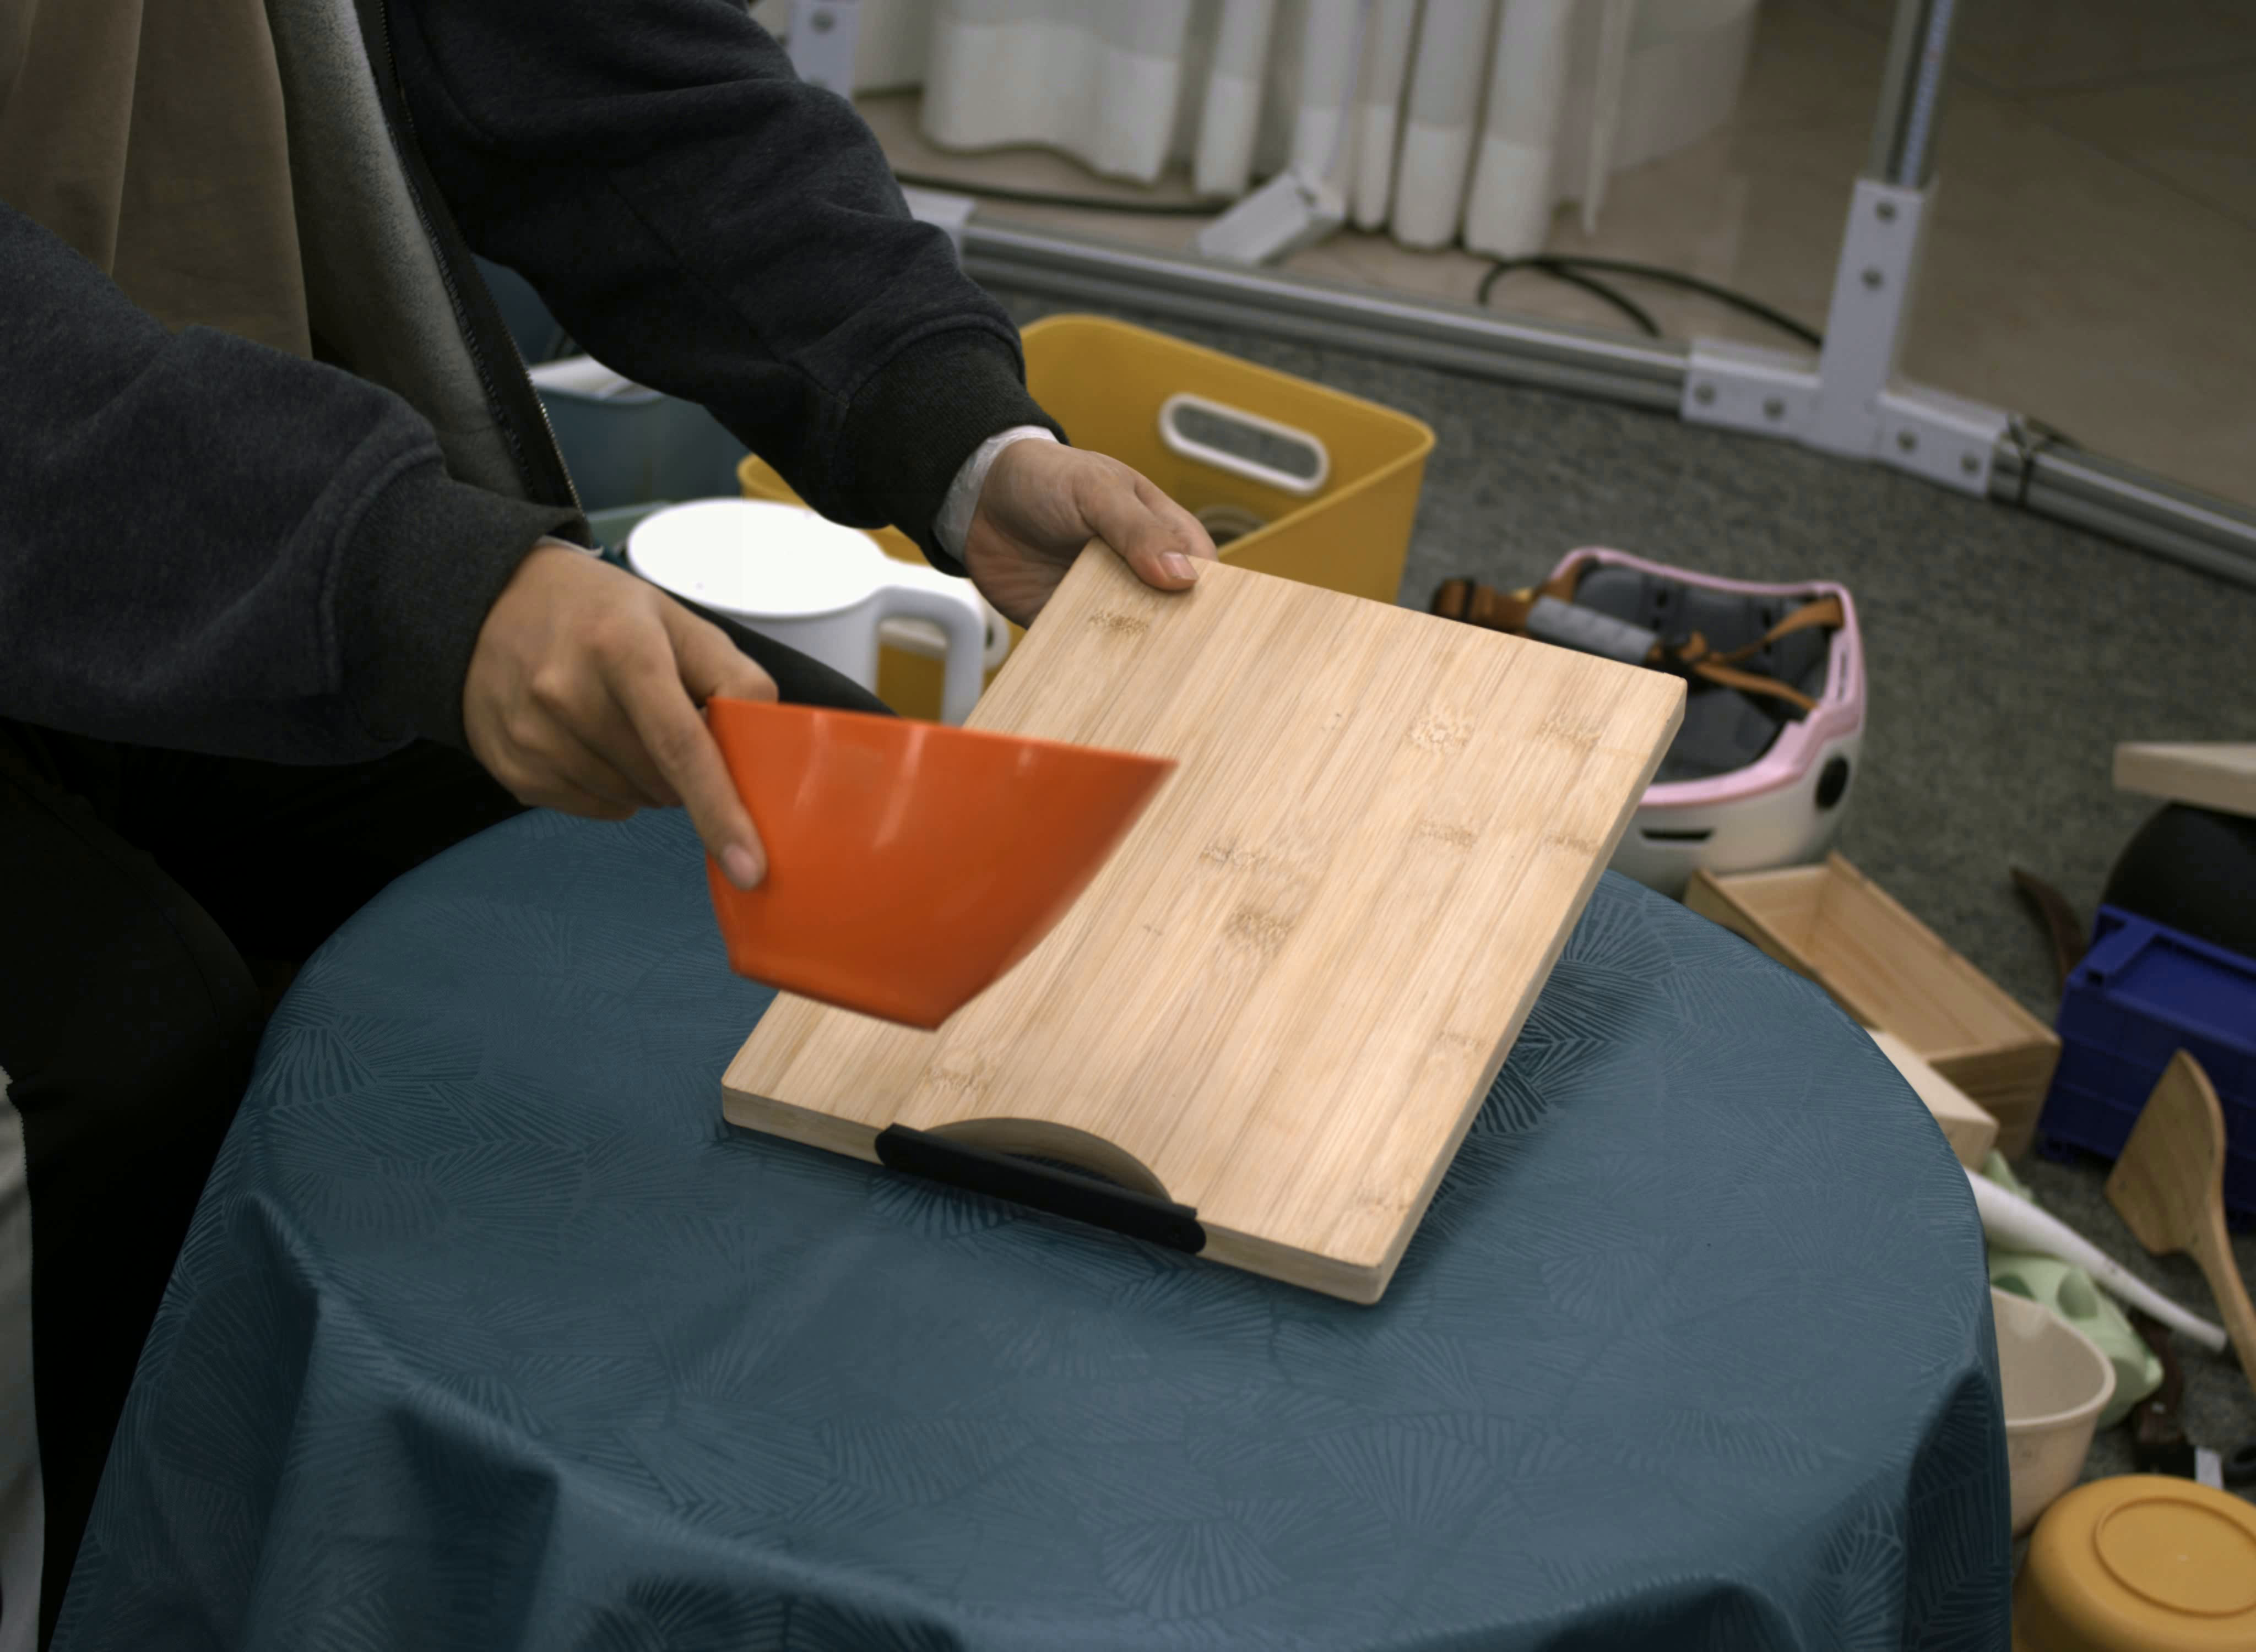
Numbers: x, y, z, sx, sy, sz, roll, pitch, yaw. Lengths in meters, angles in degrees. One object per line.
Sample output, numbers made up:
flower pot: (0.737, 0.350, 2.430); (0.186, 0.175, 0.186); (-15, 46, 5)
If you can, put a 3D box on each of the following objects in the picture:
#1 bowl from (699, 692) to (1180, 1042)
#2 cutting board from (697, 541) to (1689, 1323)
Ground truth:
bowl: (-0.069, 0.011, 1.651); (0.148, 0.105, 0.148); (18, -3, 1)
cutting board: (0.032, 0.028, 1.892); (0.251, 0.023, 0.349); (14, 41, 17)
